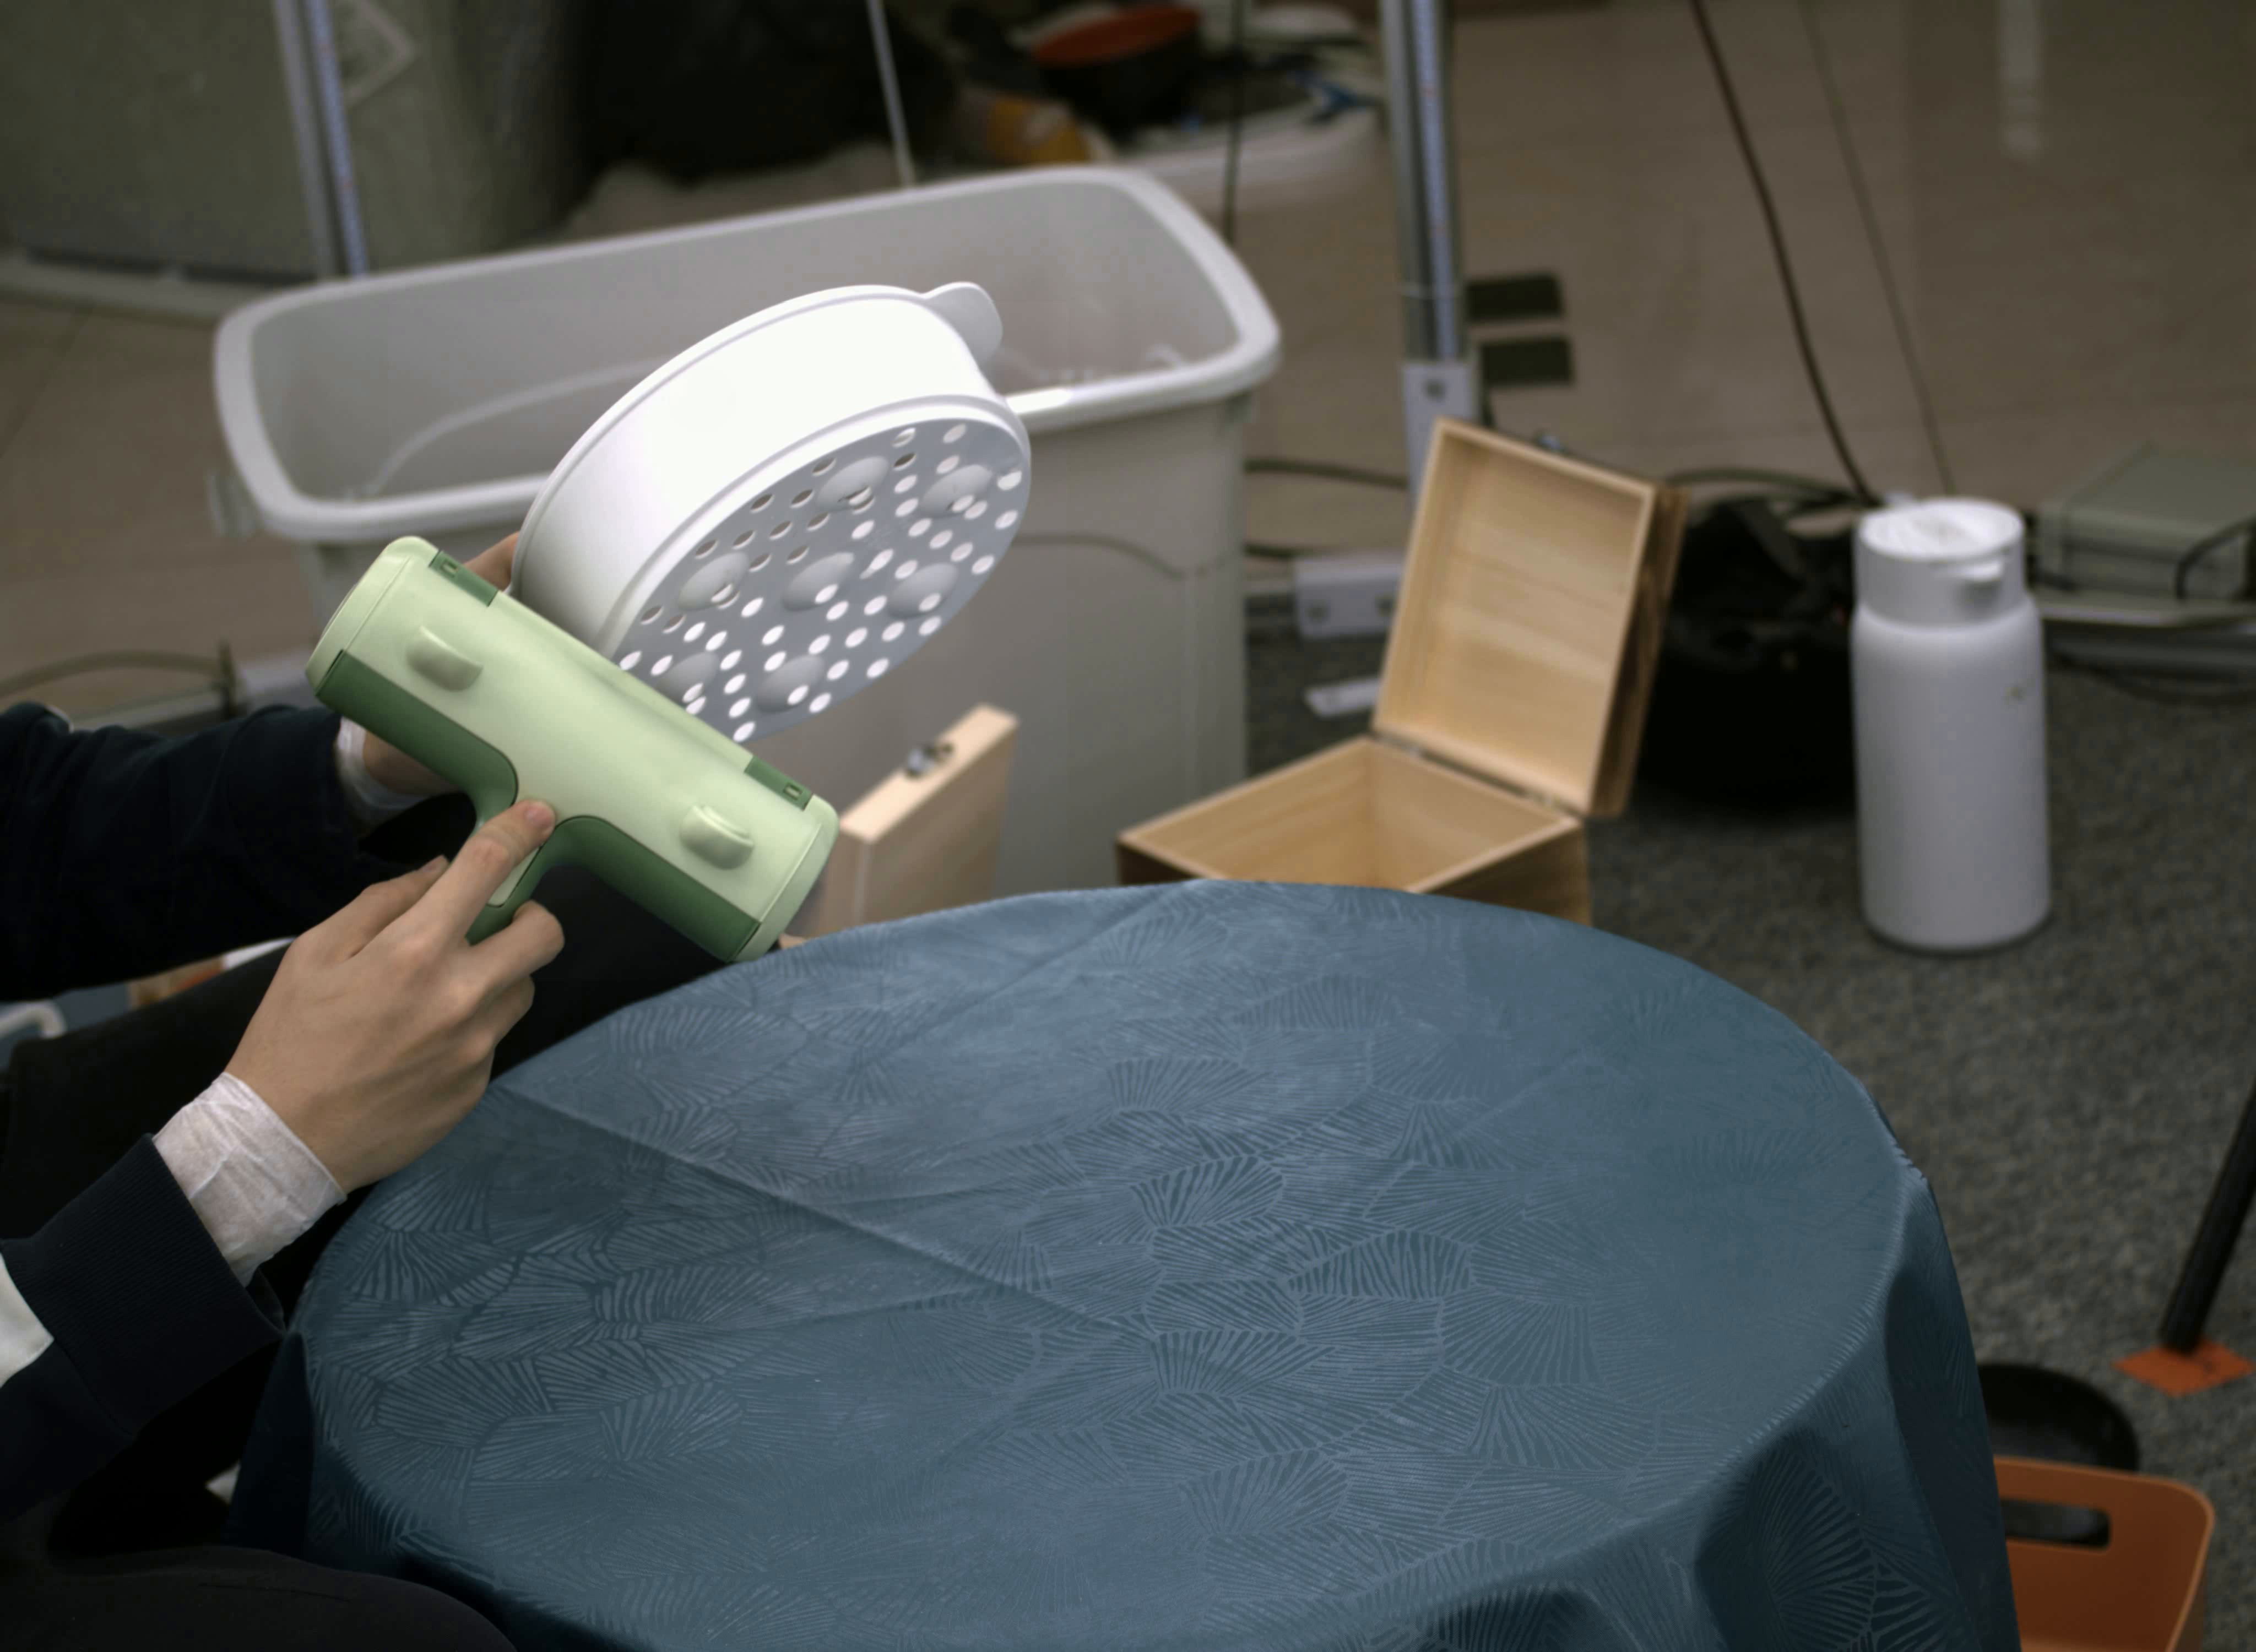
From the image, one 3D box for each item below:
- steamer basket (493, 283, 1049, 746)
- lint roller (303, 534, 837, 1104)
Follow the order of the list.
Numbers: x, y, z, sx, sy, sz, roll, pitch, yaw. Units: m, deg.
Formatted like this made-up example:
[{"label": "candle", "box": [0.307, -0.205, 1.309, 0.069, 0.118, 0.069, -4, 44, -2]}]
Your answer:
[{"label": "steamer basket", "box": [-0.125, -0.112, 2.112, 0.230, 0.204, 0.068, -33, 68, 0]}, {"label": "lint roller", "box": [-0.223, 0.016, 2.007, 0.181, 0.199, 0.083, -60, 9, -26]}]
